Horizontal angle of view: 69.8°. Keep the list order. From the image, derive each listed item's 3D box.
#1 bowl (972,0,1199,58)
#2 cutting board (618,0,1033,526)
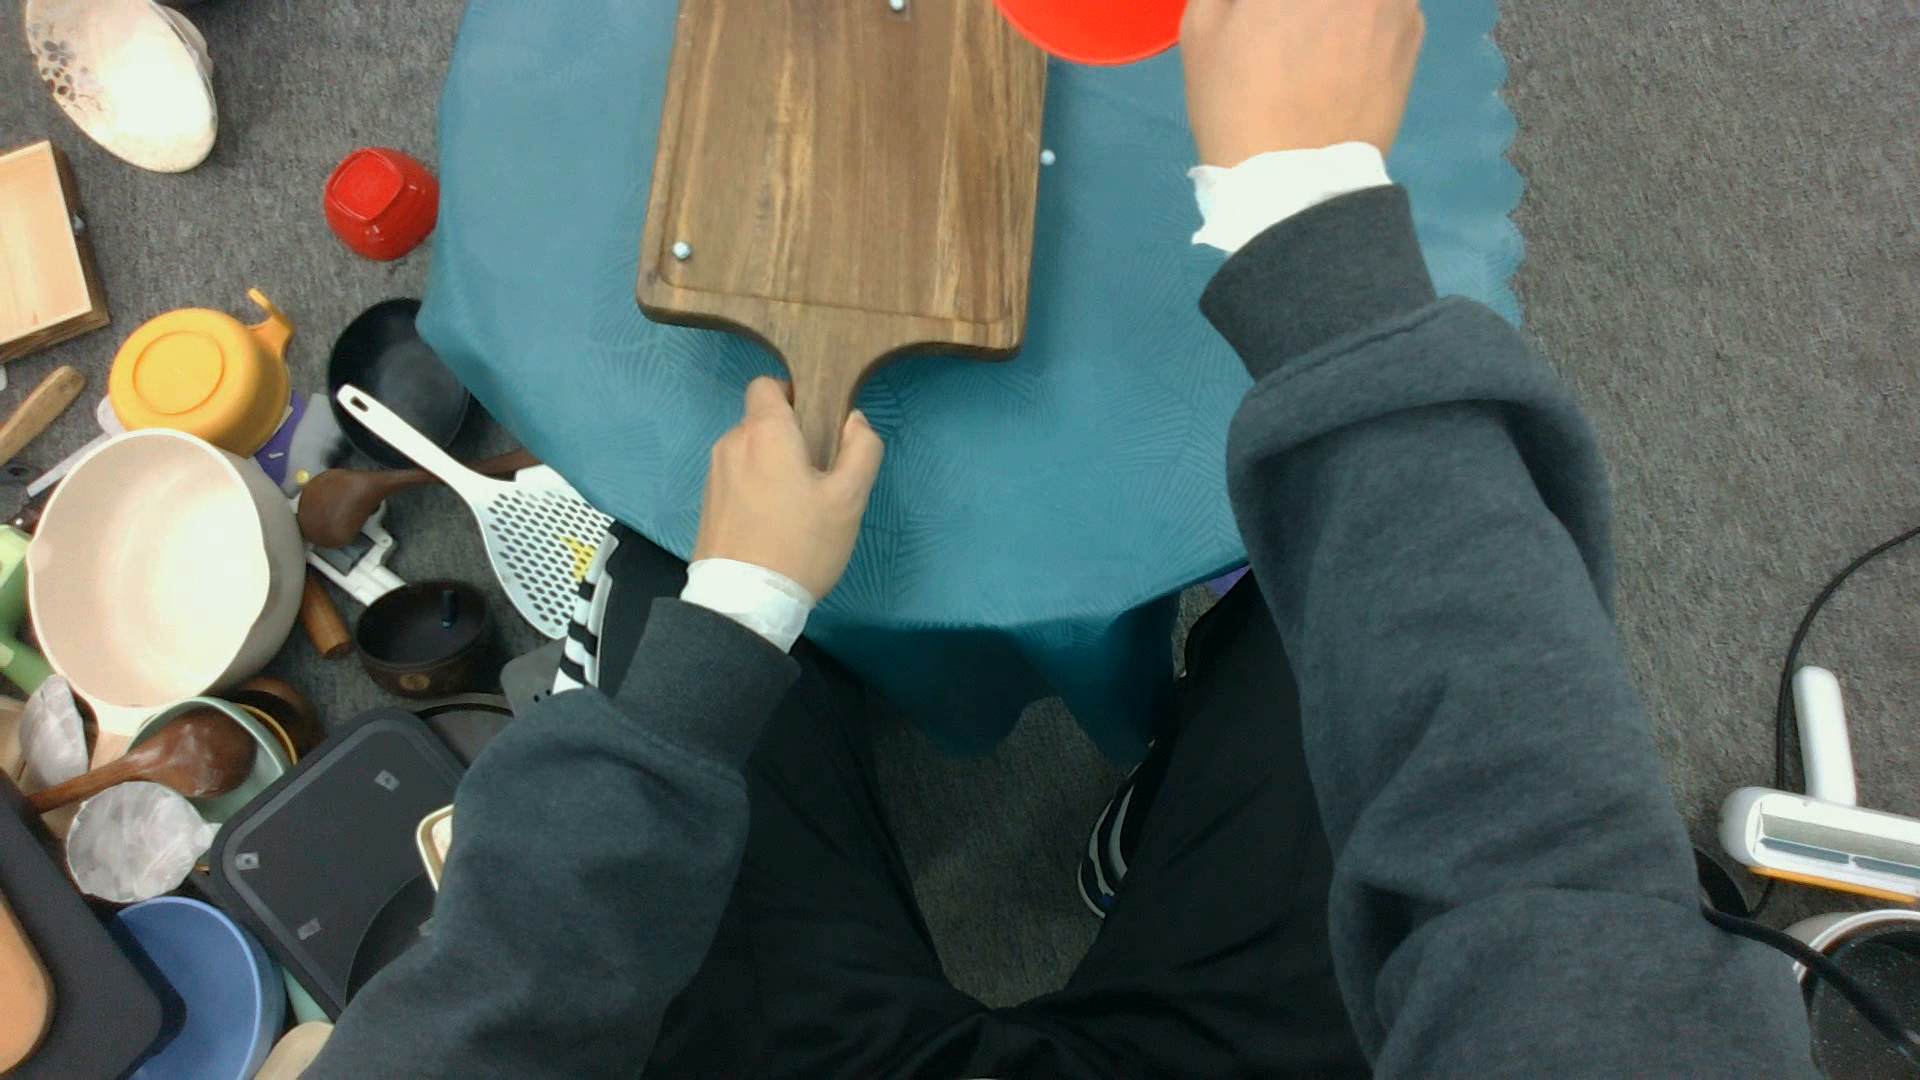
[{"bbox_3d":[0.074,-0.282,0.568,0.105,0.147,0.148,-25,75,-37],"label":"bowl"},{"bbox_3d":[-0.068,-0.178,0.710,0.201,0.023,0.353,6,74,-4],"label":"cutting board"}]
